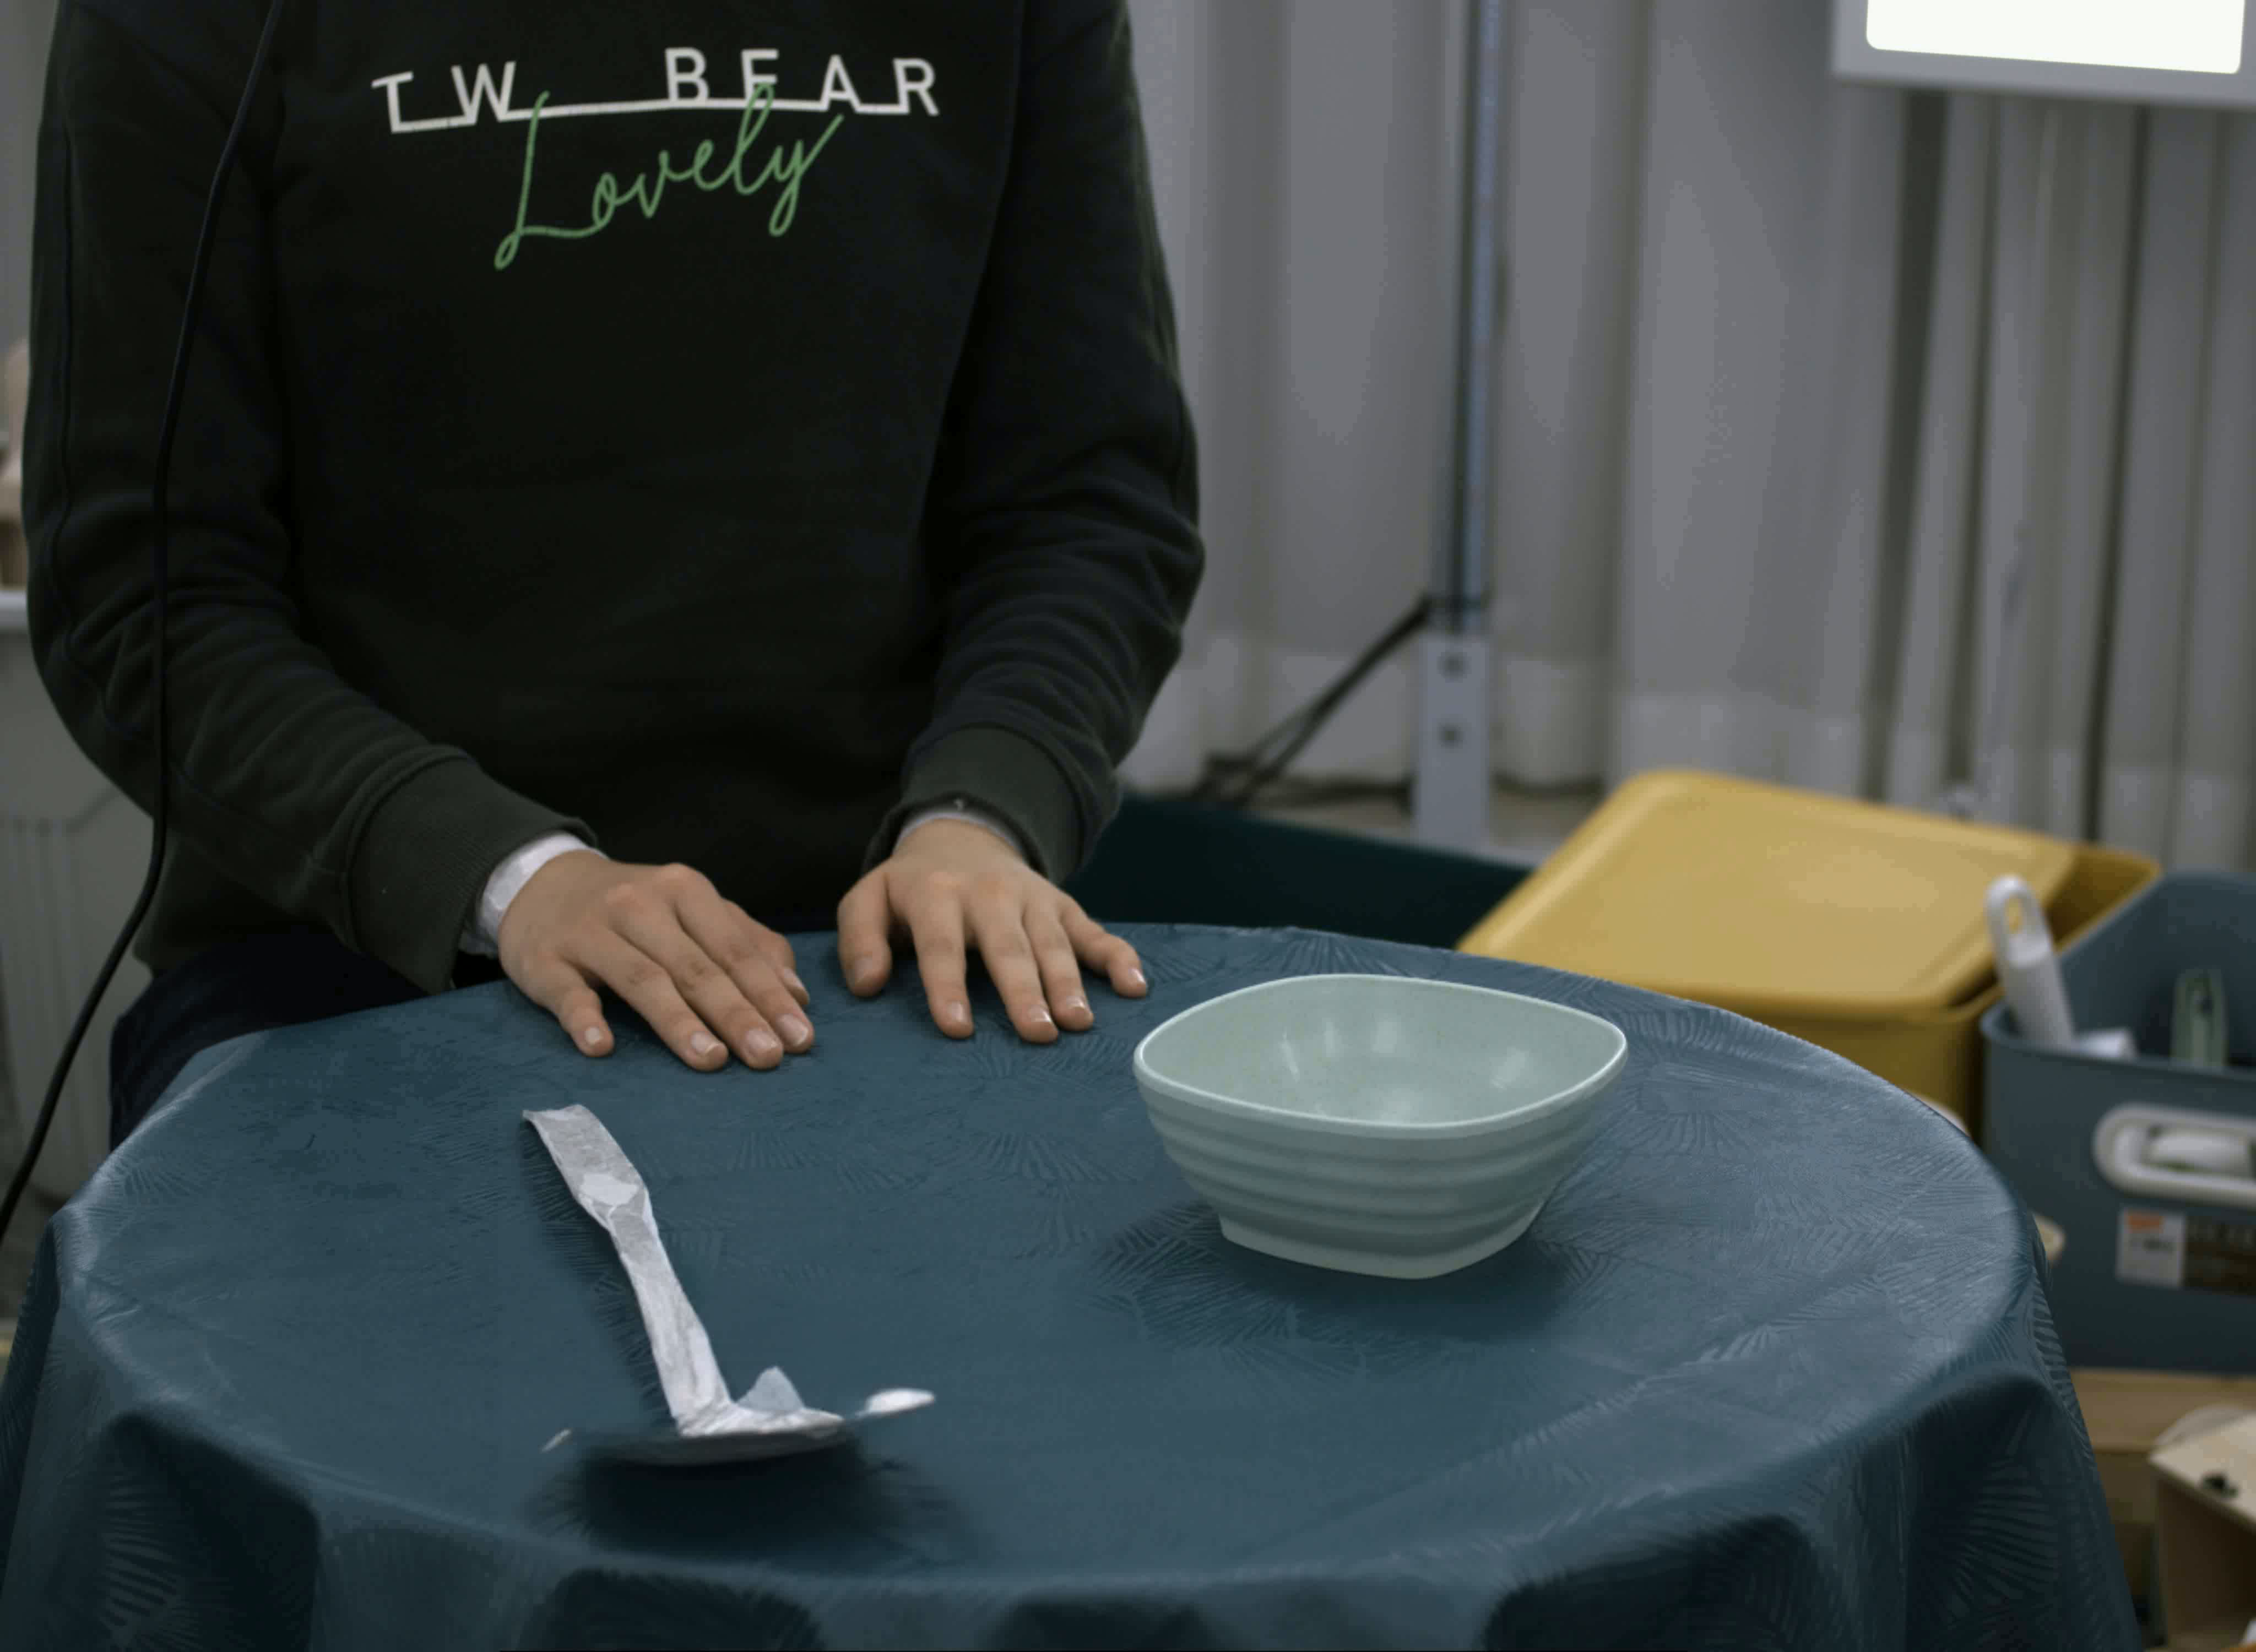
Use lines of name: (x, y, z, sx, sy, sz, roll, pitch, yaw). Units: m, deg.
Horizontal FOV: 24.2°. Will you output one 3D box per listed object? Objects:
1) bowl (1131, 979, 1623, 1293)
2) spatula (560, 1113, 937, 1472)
bowl: (0.074, 0.097, 1.592, 0.151, 0.059, 0.150, 2, 16, 0)
spatula: (-0.133, 0.124, 1.509, 0.099, 0.045, 0.361, -5, 17, -13)
